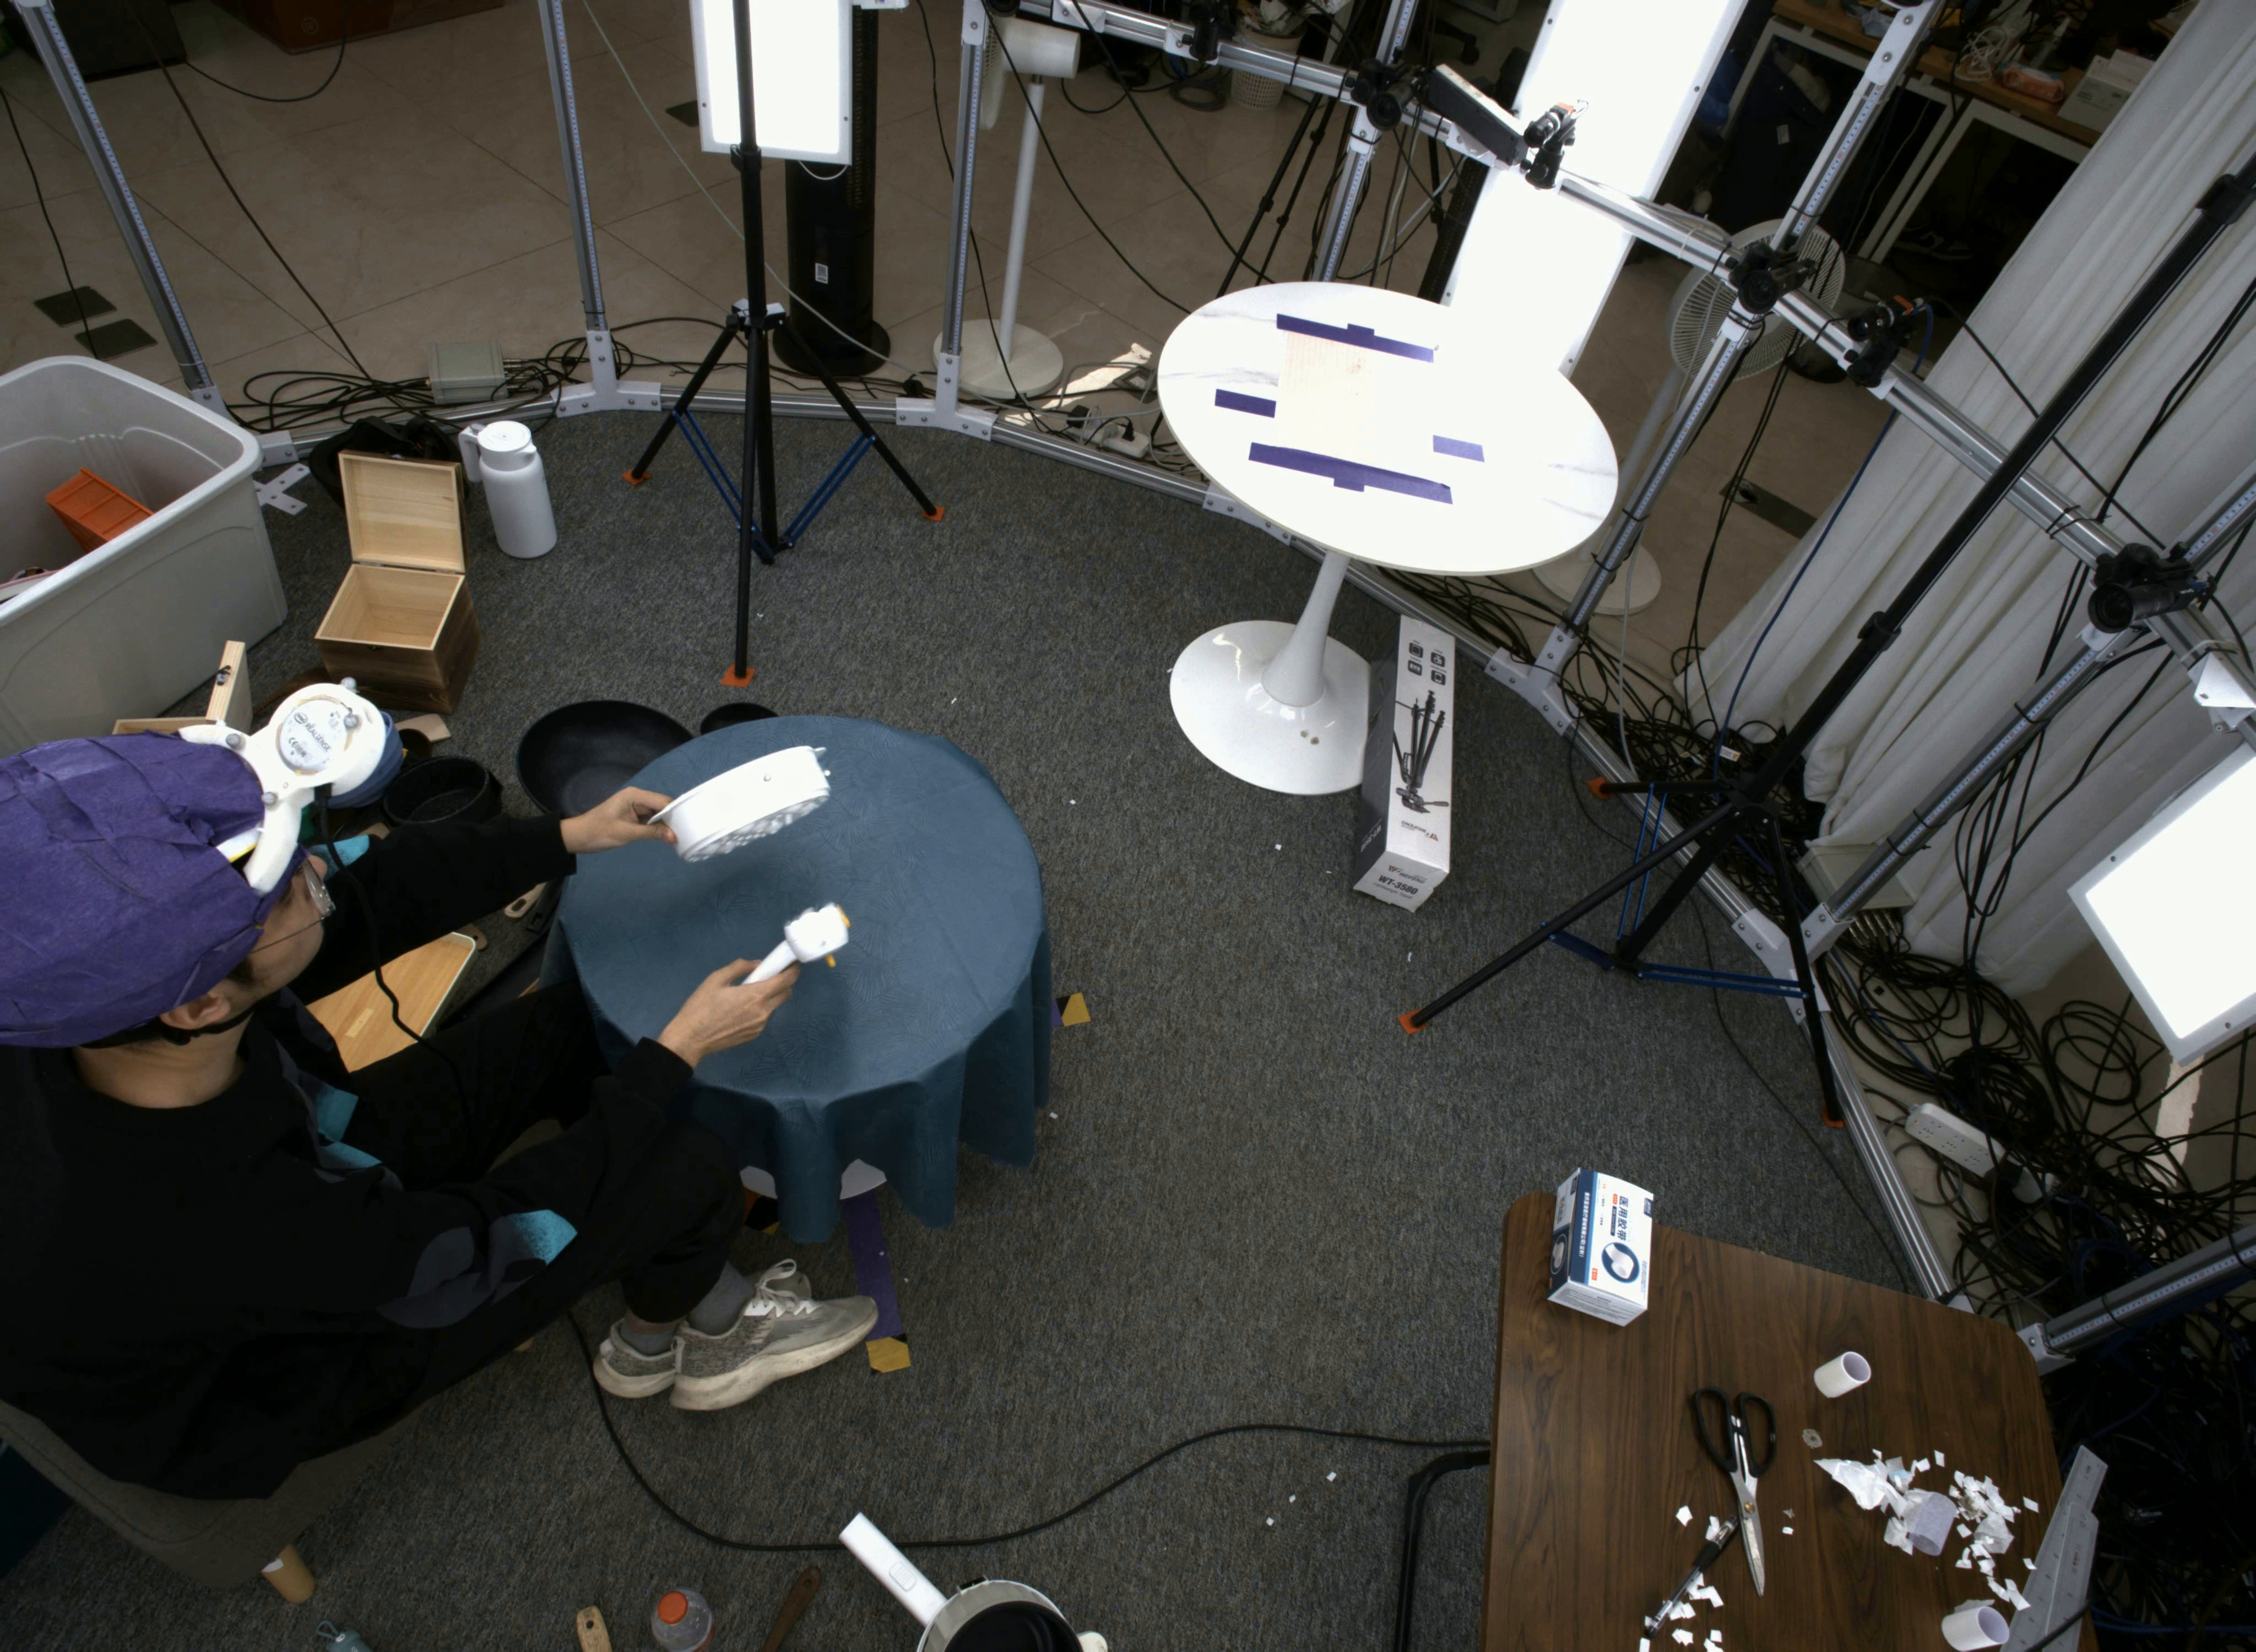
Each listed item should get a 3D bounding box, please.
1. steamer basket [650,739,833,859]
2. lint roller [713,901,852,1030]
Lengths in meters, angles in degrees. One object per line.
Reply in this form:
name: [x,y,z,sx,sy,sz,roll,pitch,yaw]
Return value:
steamer basket: [-0.451,-0.030,1.541,0.231,0.199,0.070,-27,91,-31]
lint roller: [-0.401,0.155,1.481,0.192,0.189,0.075,-32,100,-9]
